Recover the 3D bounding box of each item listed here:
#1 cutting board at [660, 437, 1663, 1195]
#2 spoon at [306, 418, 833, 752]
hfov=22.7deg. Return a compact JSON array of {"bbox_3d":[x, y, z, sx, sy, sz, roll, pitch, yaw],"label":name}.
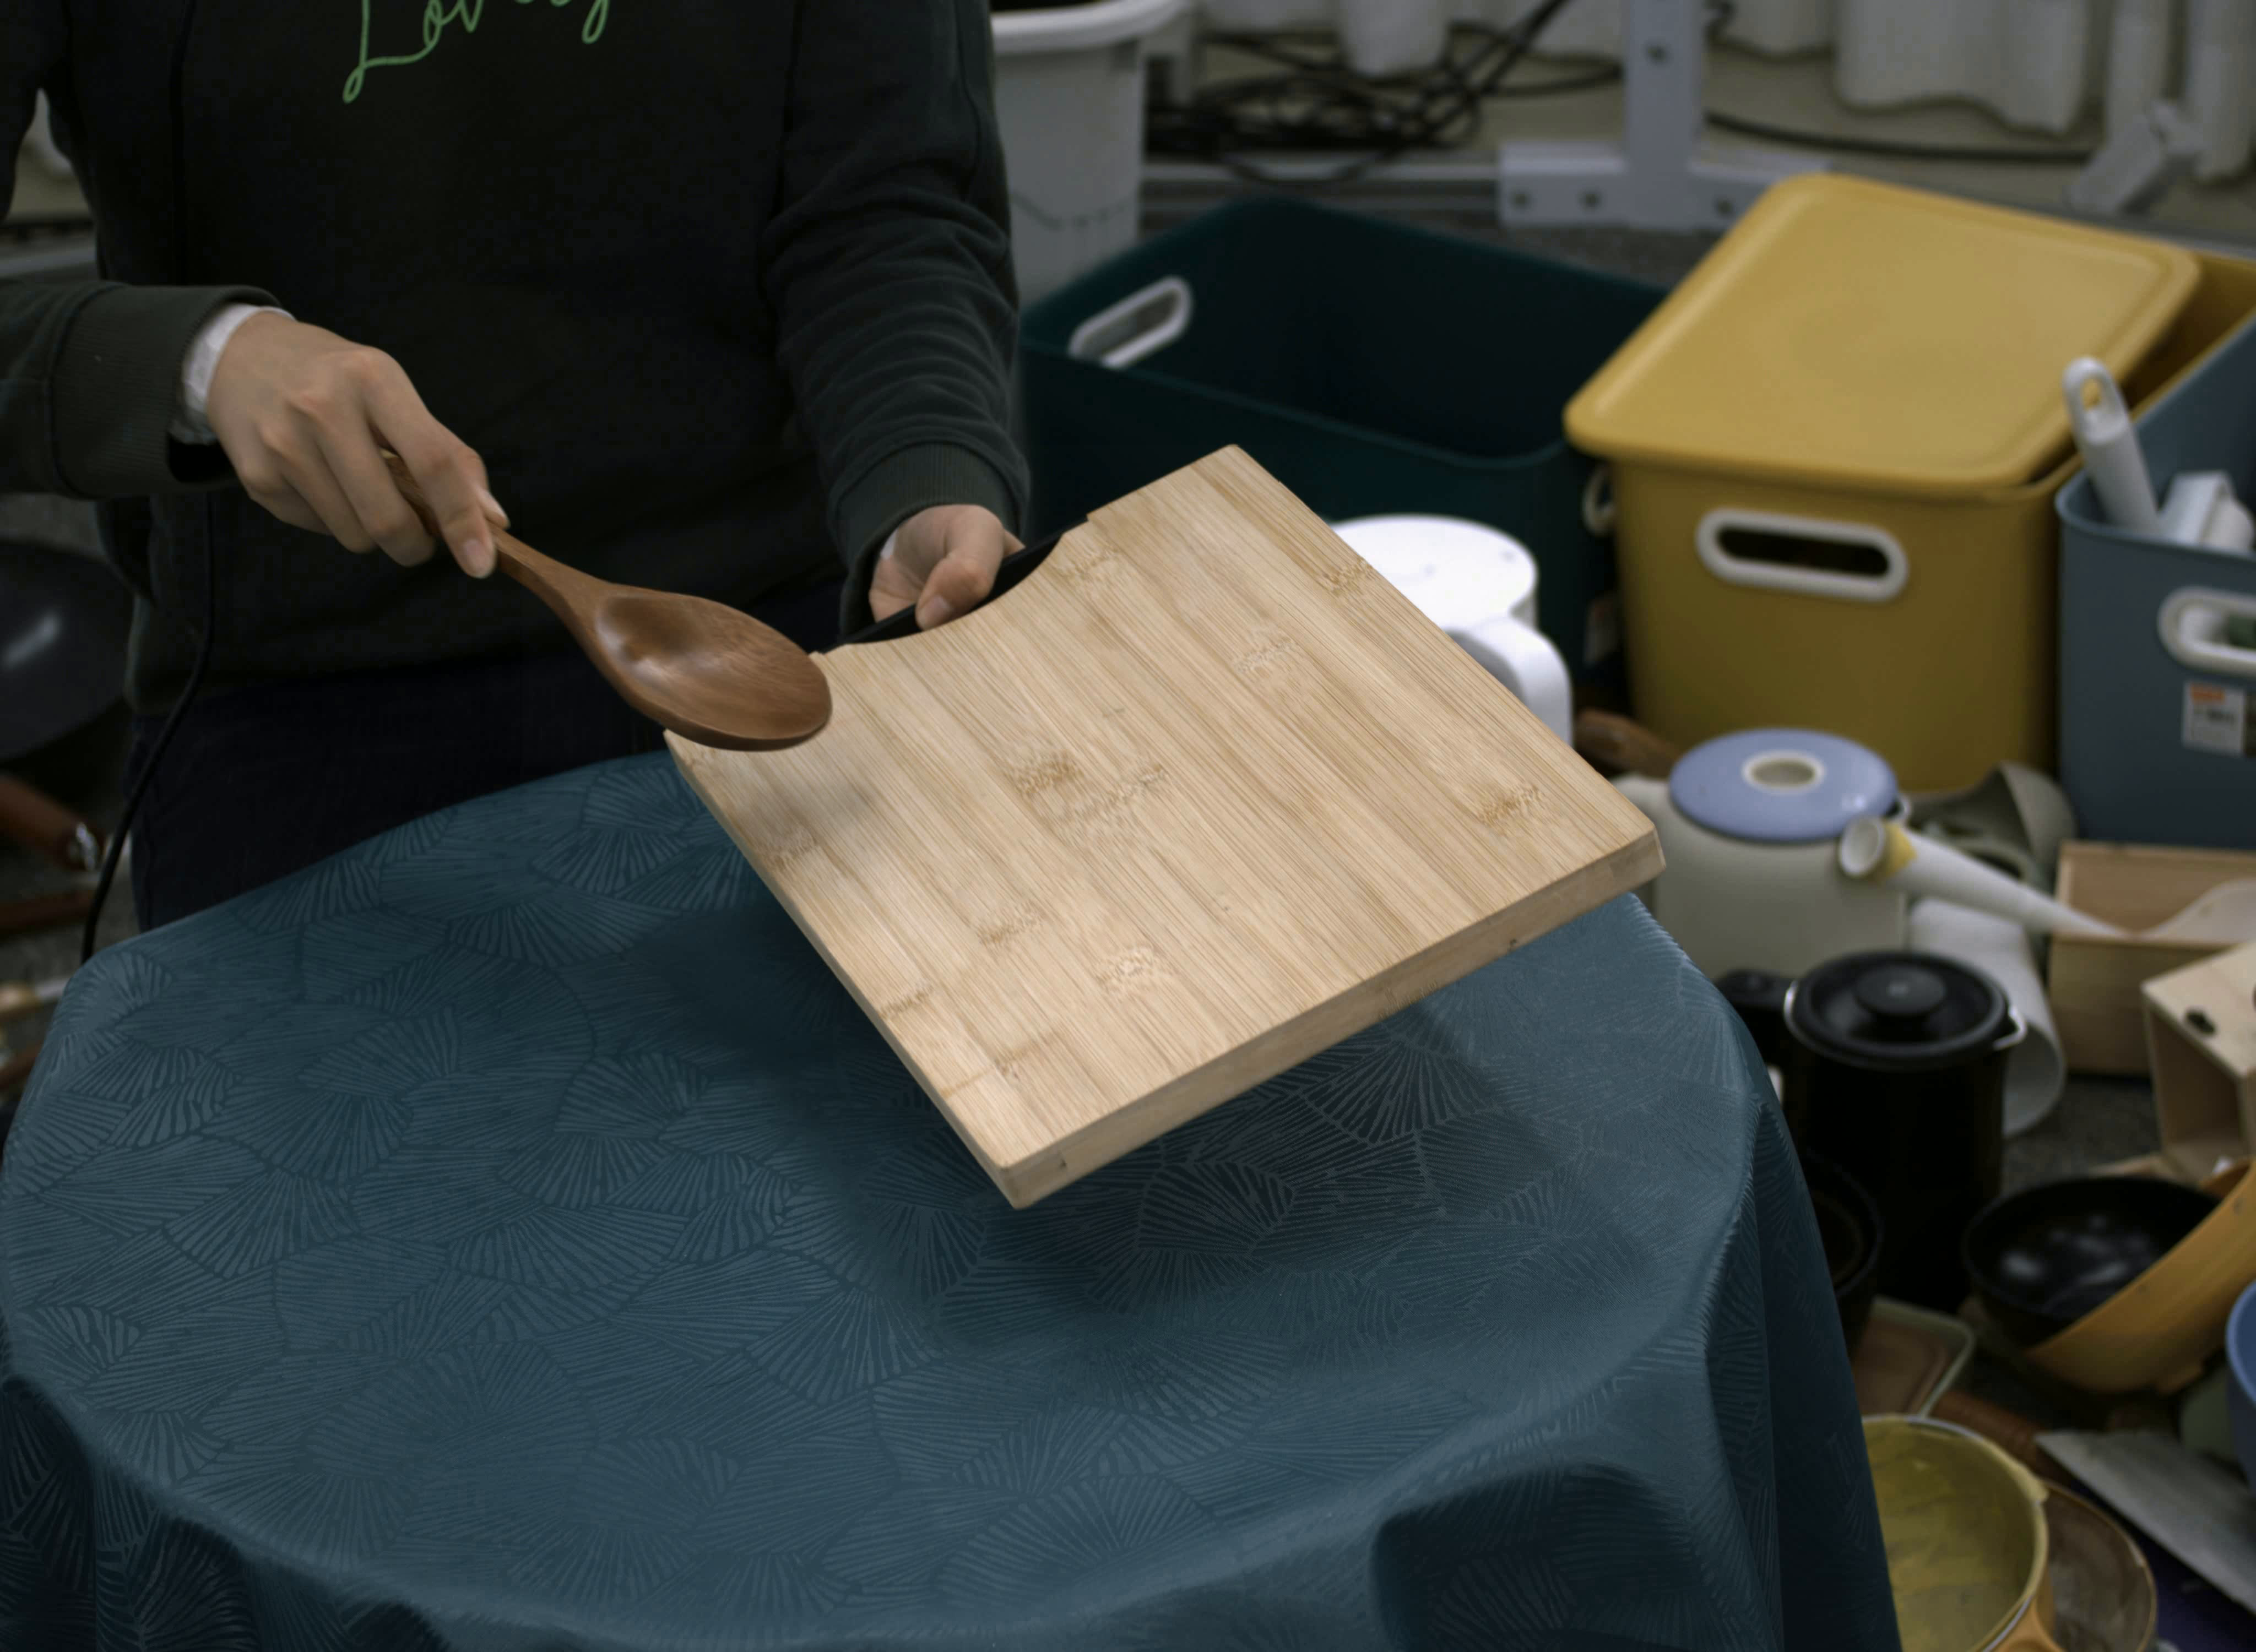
[{"bbox_3d":[0.002,-0.012,1.922,0.251,0.023,0.351,-26,33,-12],"label":"cutting board"},{"bbox_3d":[-0.196,-0.083,1.948,0.216,0.017,0.076,32,37,15],"label":"spoon"}]
